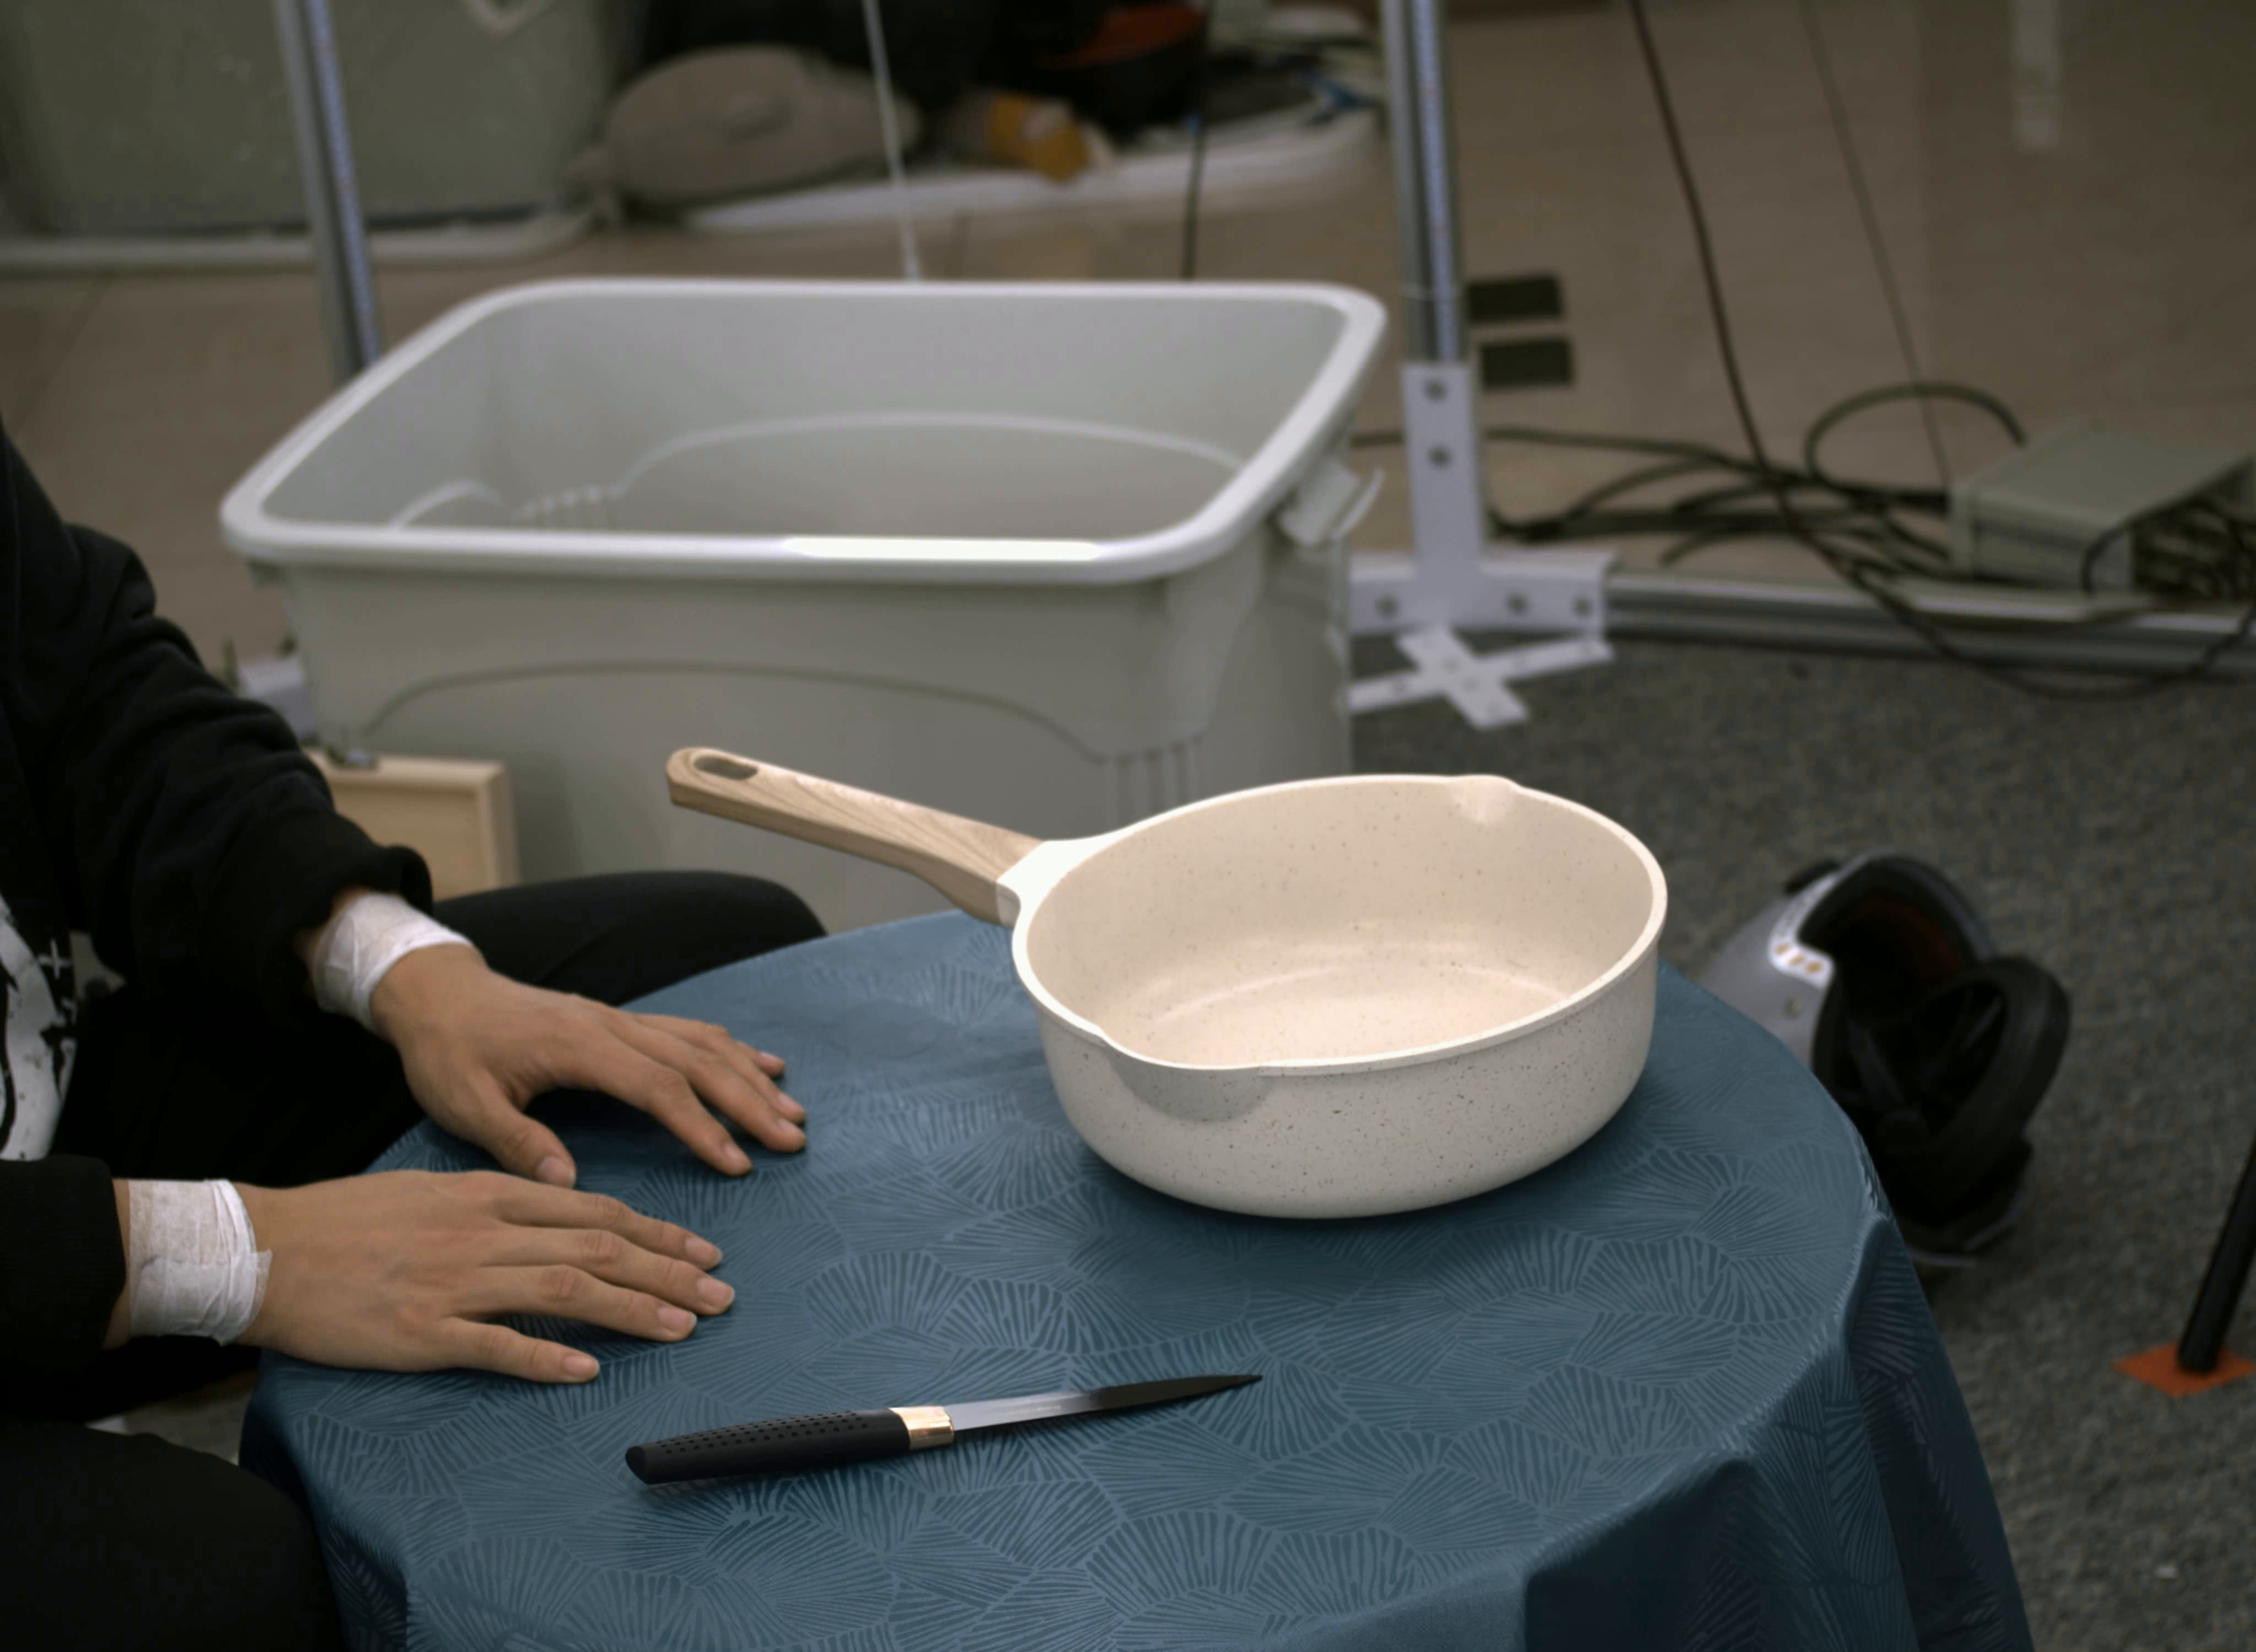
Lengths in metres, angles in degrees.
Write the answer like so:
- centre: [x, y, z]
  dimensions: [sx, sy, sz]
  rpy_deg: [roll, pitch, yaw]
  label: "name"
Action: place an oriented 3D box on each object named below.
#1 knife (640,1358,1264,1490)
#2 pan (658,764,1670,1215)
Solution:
- centre: [-0.061, 0.209, 2.004]
  dimensions: [0.225, 0.017, 0.026]
  rpy_deg: [-9, 11, -7]
  label: "knife"
- centre: [0.006, 0.049, 2.224]
  dimensions: [0.433, 0.103, 0.260]
  rpy_deg: [9, 30, 29]
  label: "pan"
